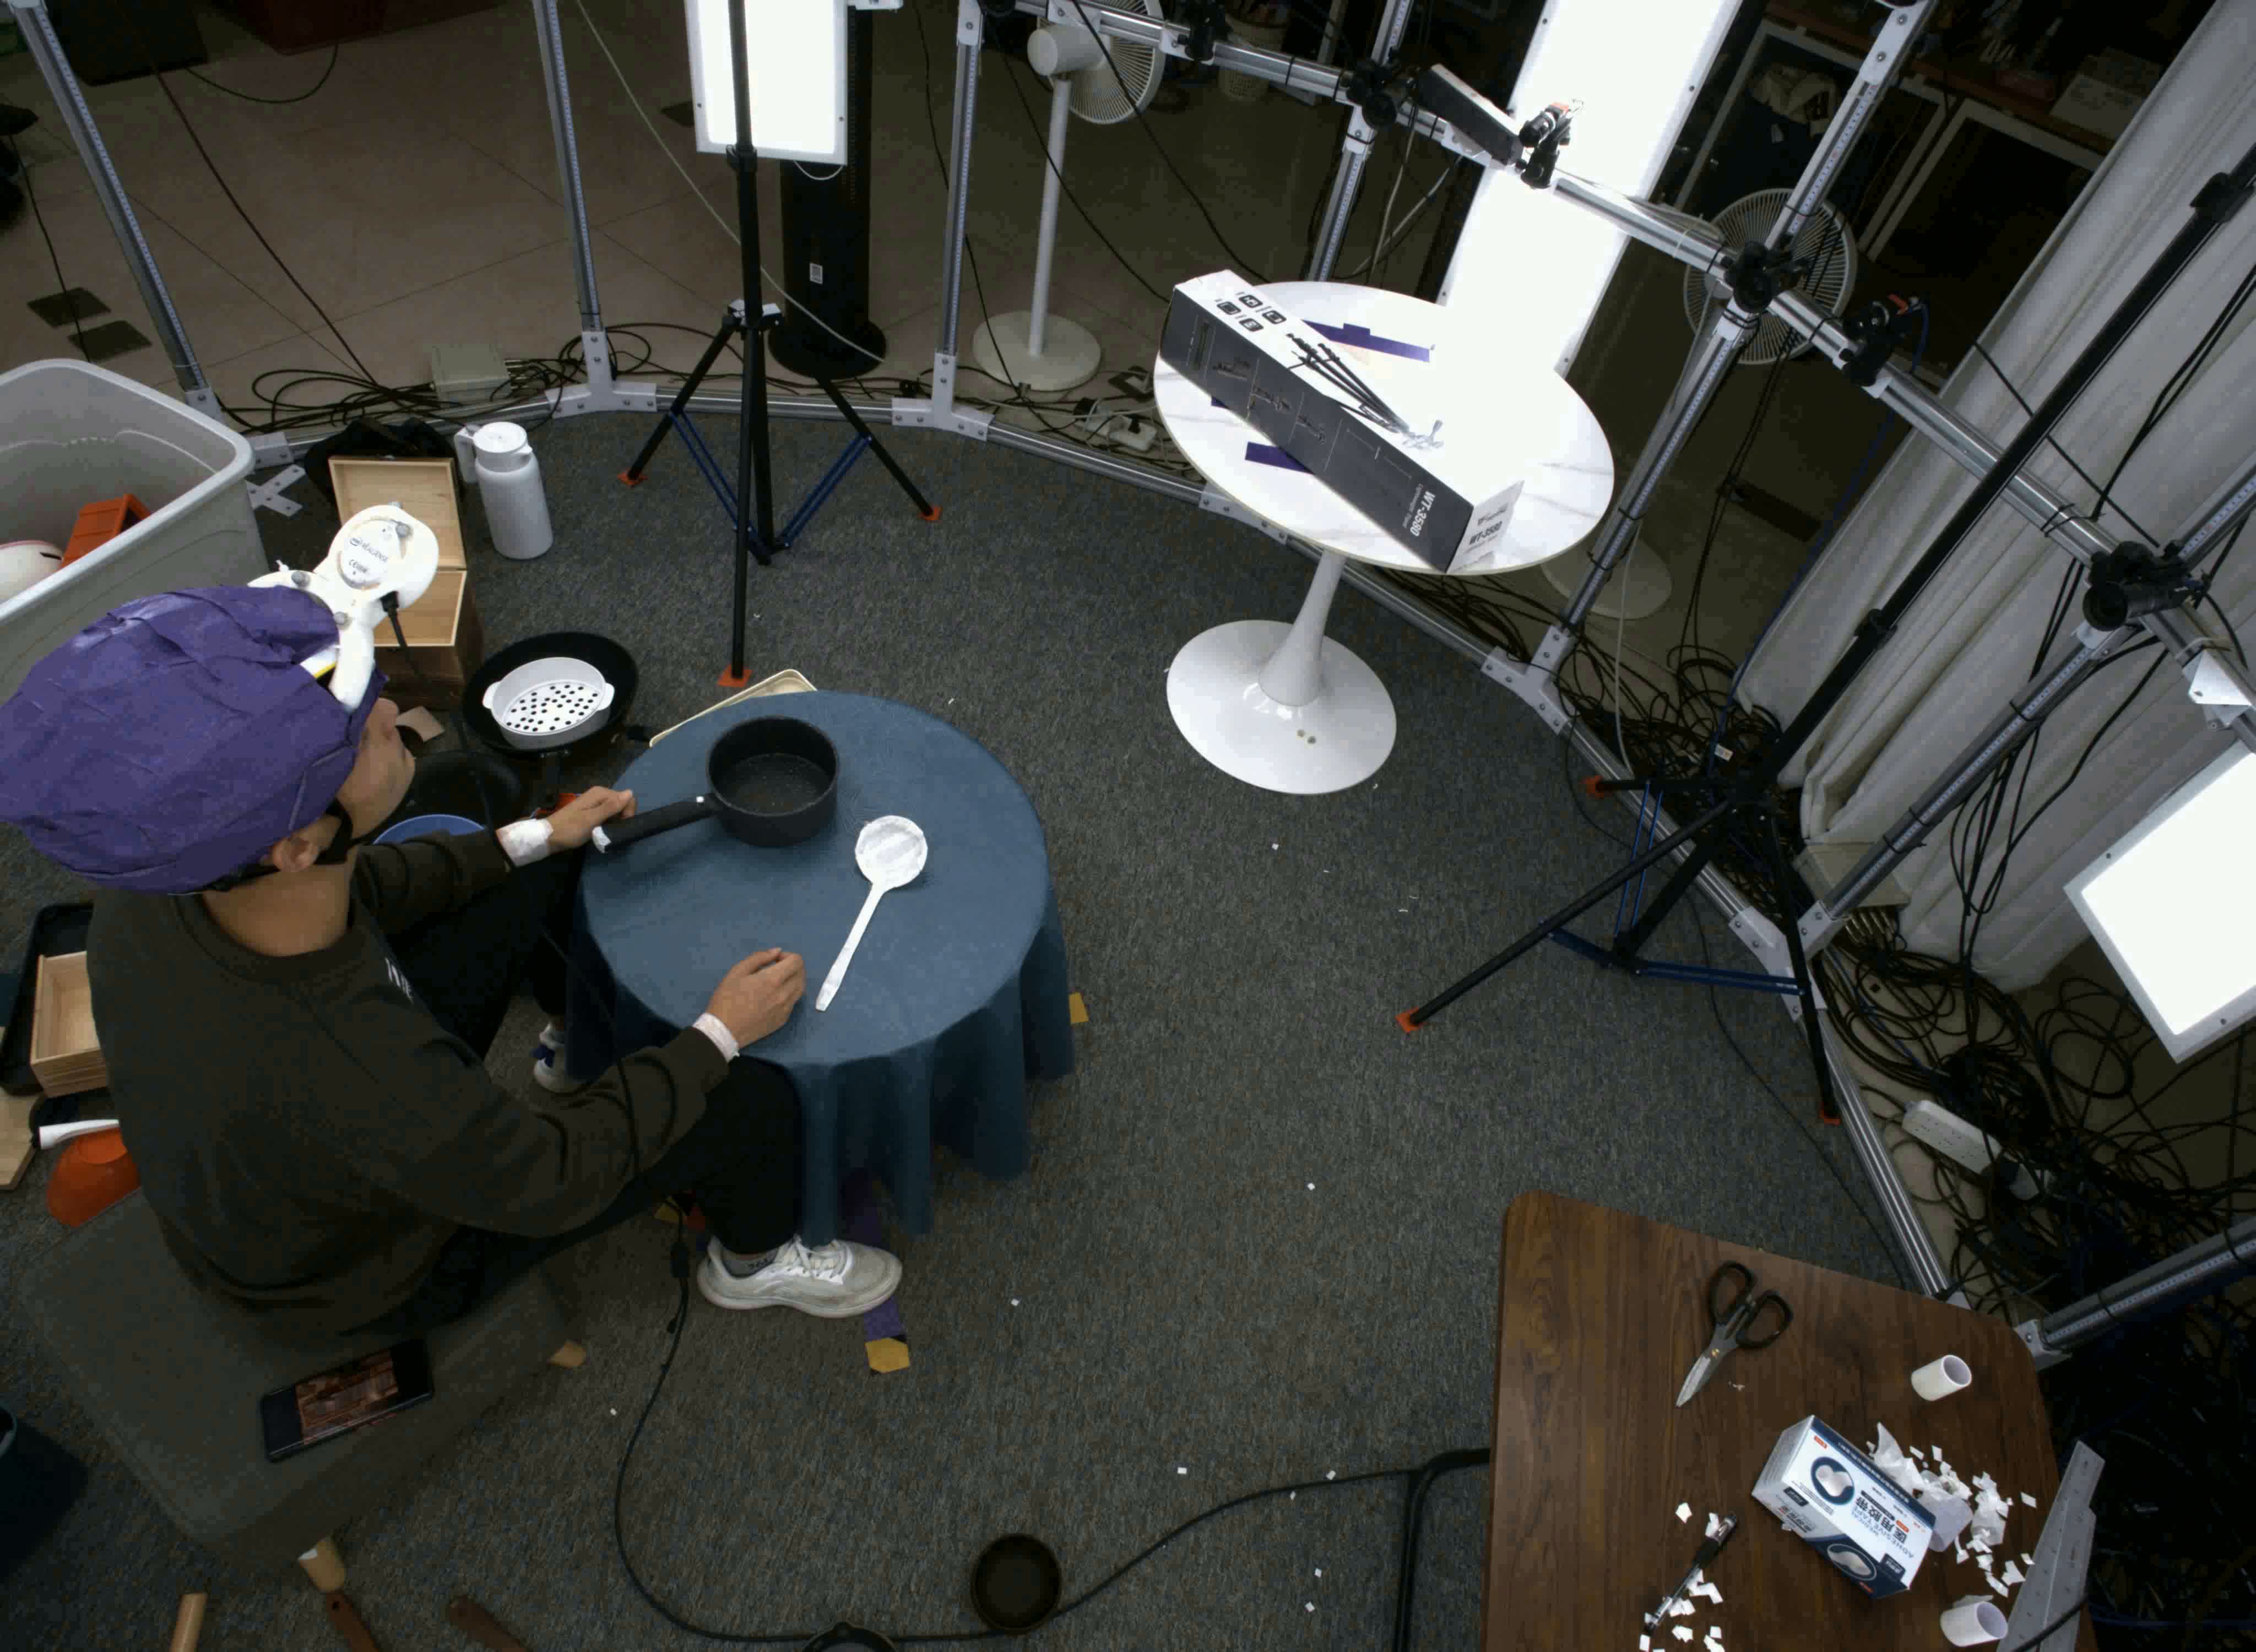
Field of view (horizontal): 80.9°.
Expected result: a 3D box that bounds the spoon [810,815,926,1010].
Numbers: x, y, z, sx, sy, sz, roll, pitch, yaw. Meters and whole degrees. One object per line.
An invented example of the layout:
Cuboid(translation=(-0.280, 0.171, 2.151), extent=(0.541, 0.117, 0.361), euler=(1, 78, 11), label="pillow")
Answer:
Cuboid(translation=(-0.343, 0.103, 1.643), extent=(0.099, 0.061, 0.275), euler=(19, 52, 5), label="spoon")

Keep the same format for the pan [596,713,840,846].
Cuboid(translation=(-0.530, -0.032, 1.678), extent=(0.330, 0.088, 0.167), euler=(-25, 62, -30), label="pan")
